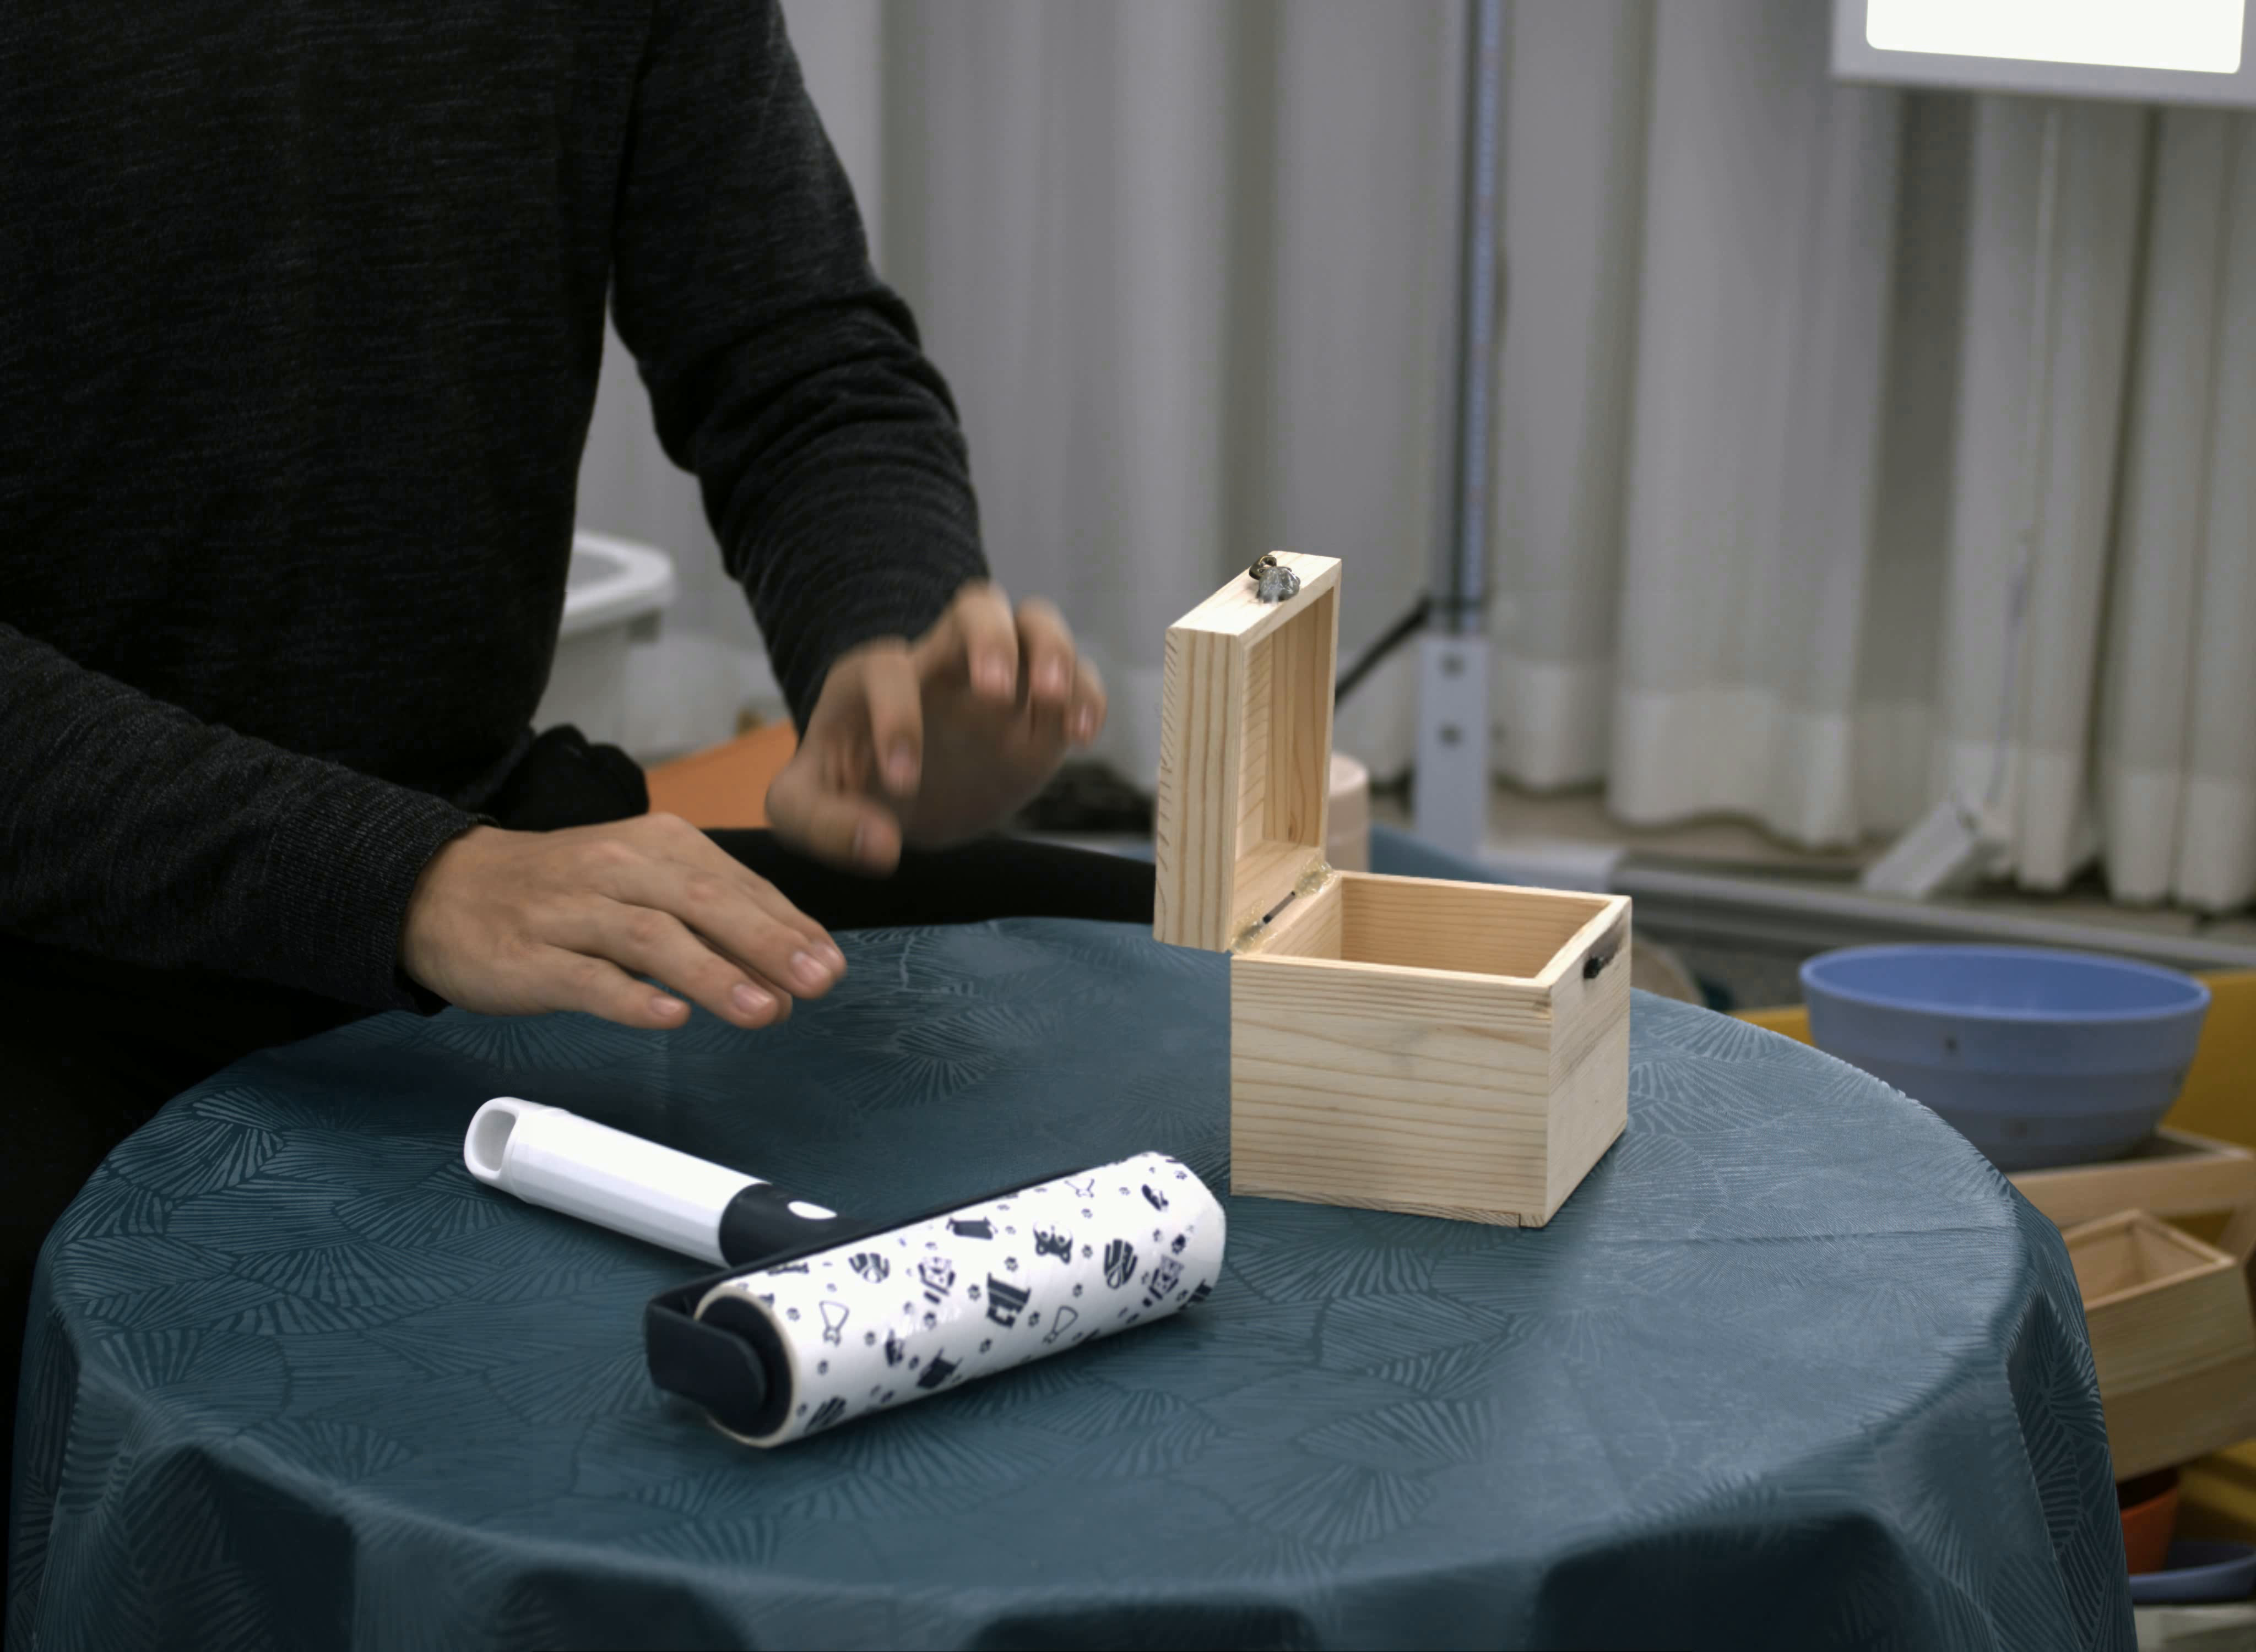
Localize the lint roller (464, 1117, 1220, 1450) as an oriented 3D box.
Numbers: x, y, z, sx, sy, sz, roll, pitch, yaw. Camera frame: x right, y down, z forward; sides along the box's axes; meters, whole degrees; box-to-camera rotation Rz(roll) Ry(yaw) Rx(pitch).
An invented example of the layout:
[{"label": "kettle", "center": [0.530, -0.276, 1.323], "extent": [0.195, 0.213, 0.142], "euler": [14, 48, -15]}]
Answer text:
[{"label": "lint roller", "center": [-0.116, 0.113, 1.534], "extent": [0.177, 0.051, 0.244], "euler": [-15, 21, -42]}]

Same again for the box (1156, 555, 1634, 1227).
[{"label": "box", "center": [0.086, 0.017, 1.627], "extent": [0.133, 0.186, 0.102], "euler": [4, 16, 18]}]
